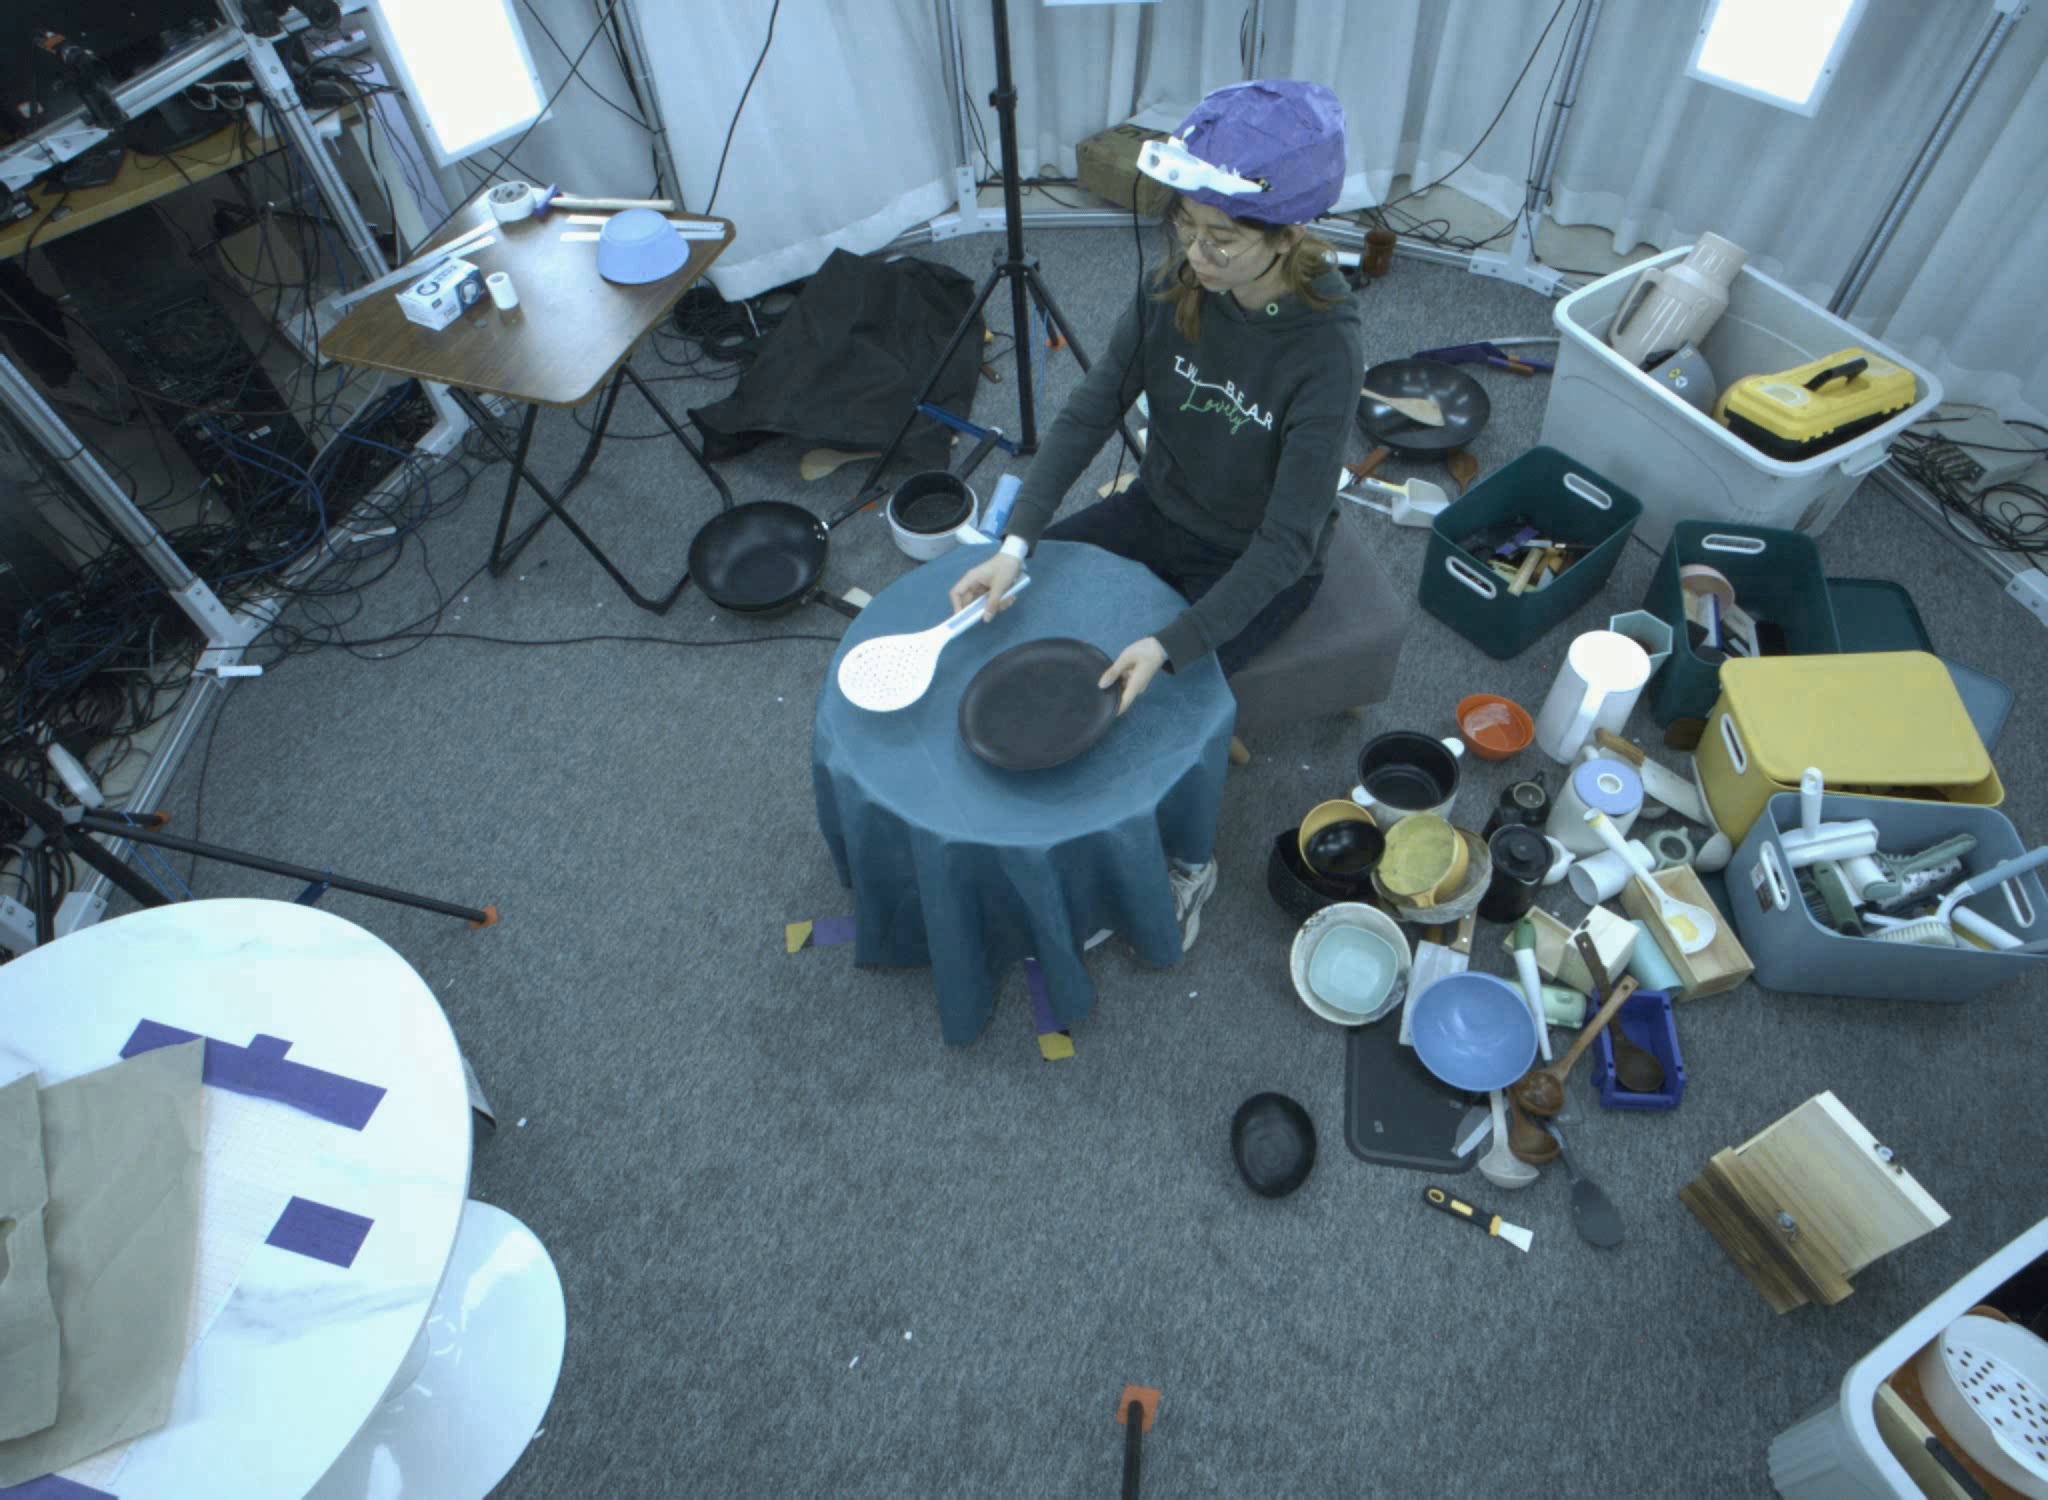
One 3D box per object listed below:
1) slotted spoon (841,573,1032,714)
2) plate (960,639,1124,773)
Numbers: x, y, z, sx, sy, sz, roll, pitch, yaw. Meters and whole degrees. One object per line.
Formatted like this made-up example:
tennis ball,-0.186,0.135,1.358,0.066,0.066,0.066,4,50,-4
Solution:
slotted spoon,-0.123,-0.168,1.847,0.352,0.046,0.134,-41,67,-19
plate,0.027,-0.061,1.781,0.242,0.024,0.242,-7,53,11
